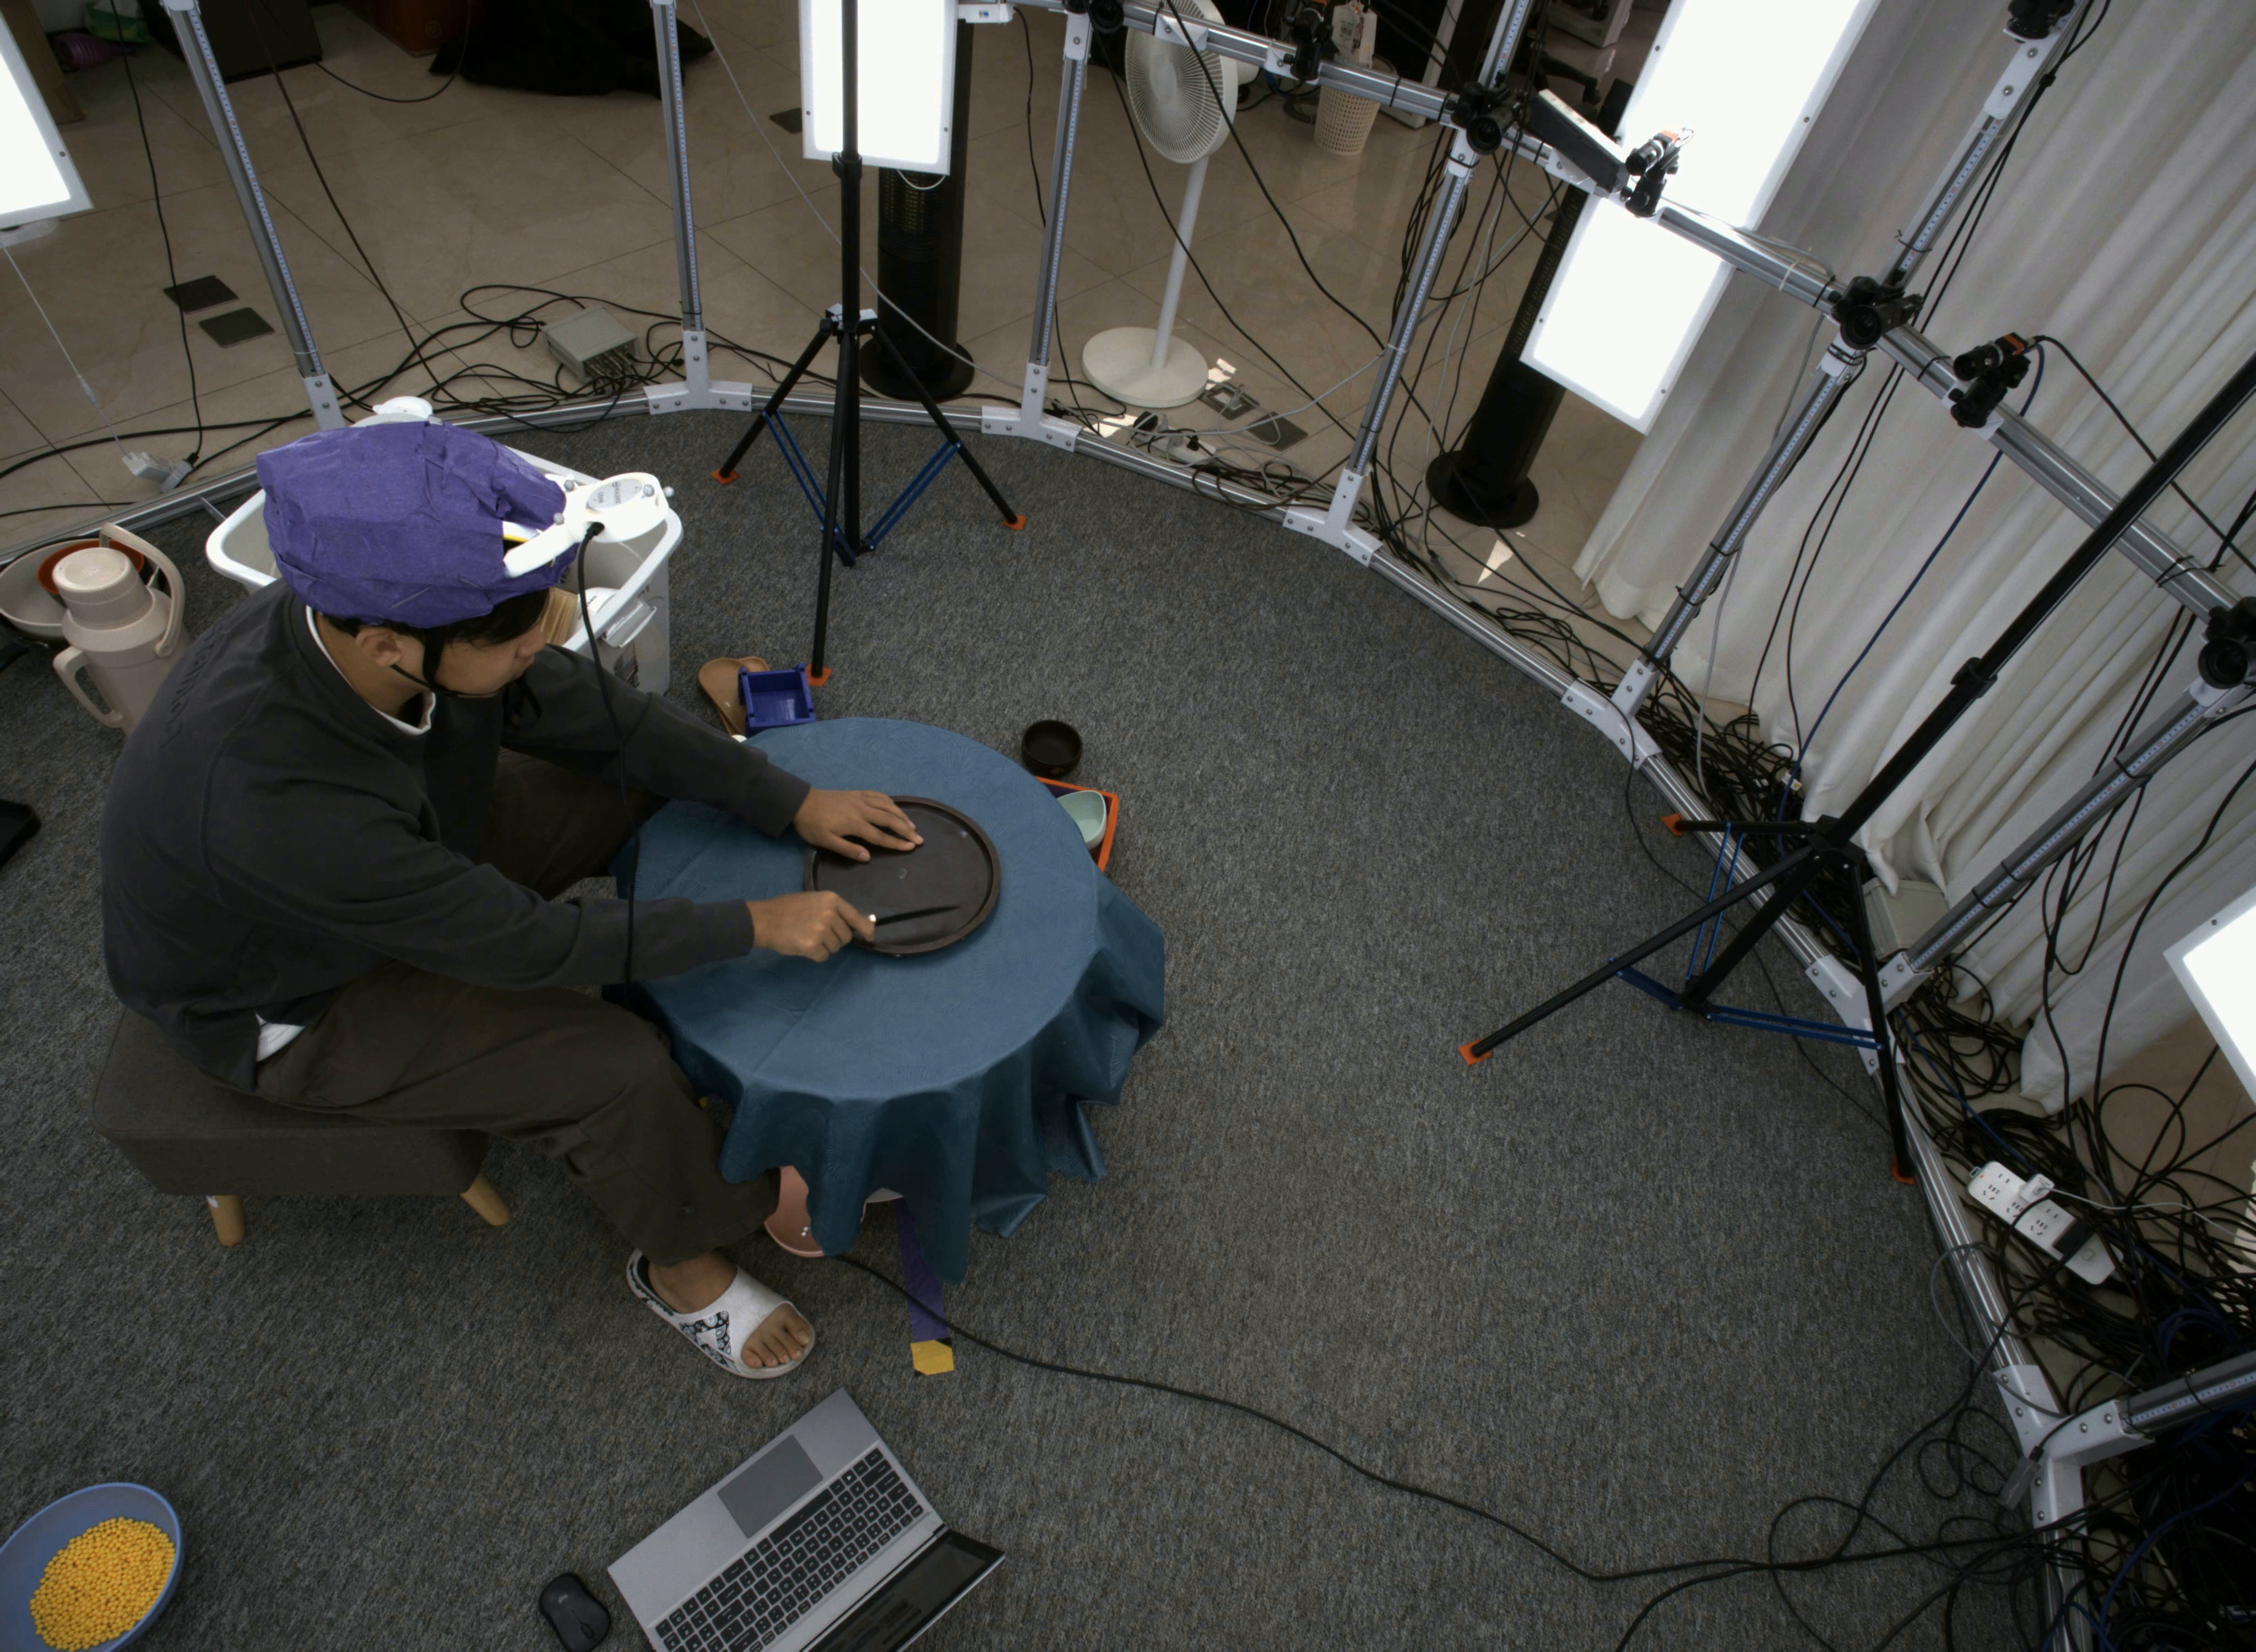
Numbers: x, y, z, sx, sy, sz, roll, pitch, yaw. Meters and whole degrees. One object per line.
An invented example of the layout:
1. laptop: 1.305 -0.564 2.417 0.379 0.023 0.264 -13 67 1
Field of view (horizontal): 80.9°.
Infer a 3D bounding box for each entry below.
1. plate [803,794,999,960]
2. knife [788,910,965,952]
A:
1. plate: -0.293 0.063 1.691 0.254 0.029 0.250 7 54 -8
2. knife: -0.308 0.123 1.604 0.227 0.026 0.017 -11 60 -24
